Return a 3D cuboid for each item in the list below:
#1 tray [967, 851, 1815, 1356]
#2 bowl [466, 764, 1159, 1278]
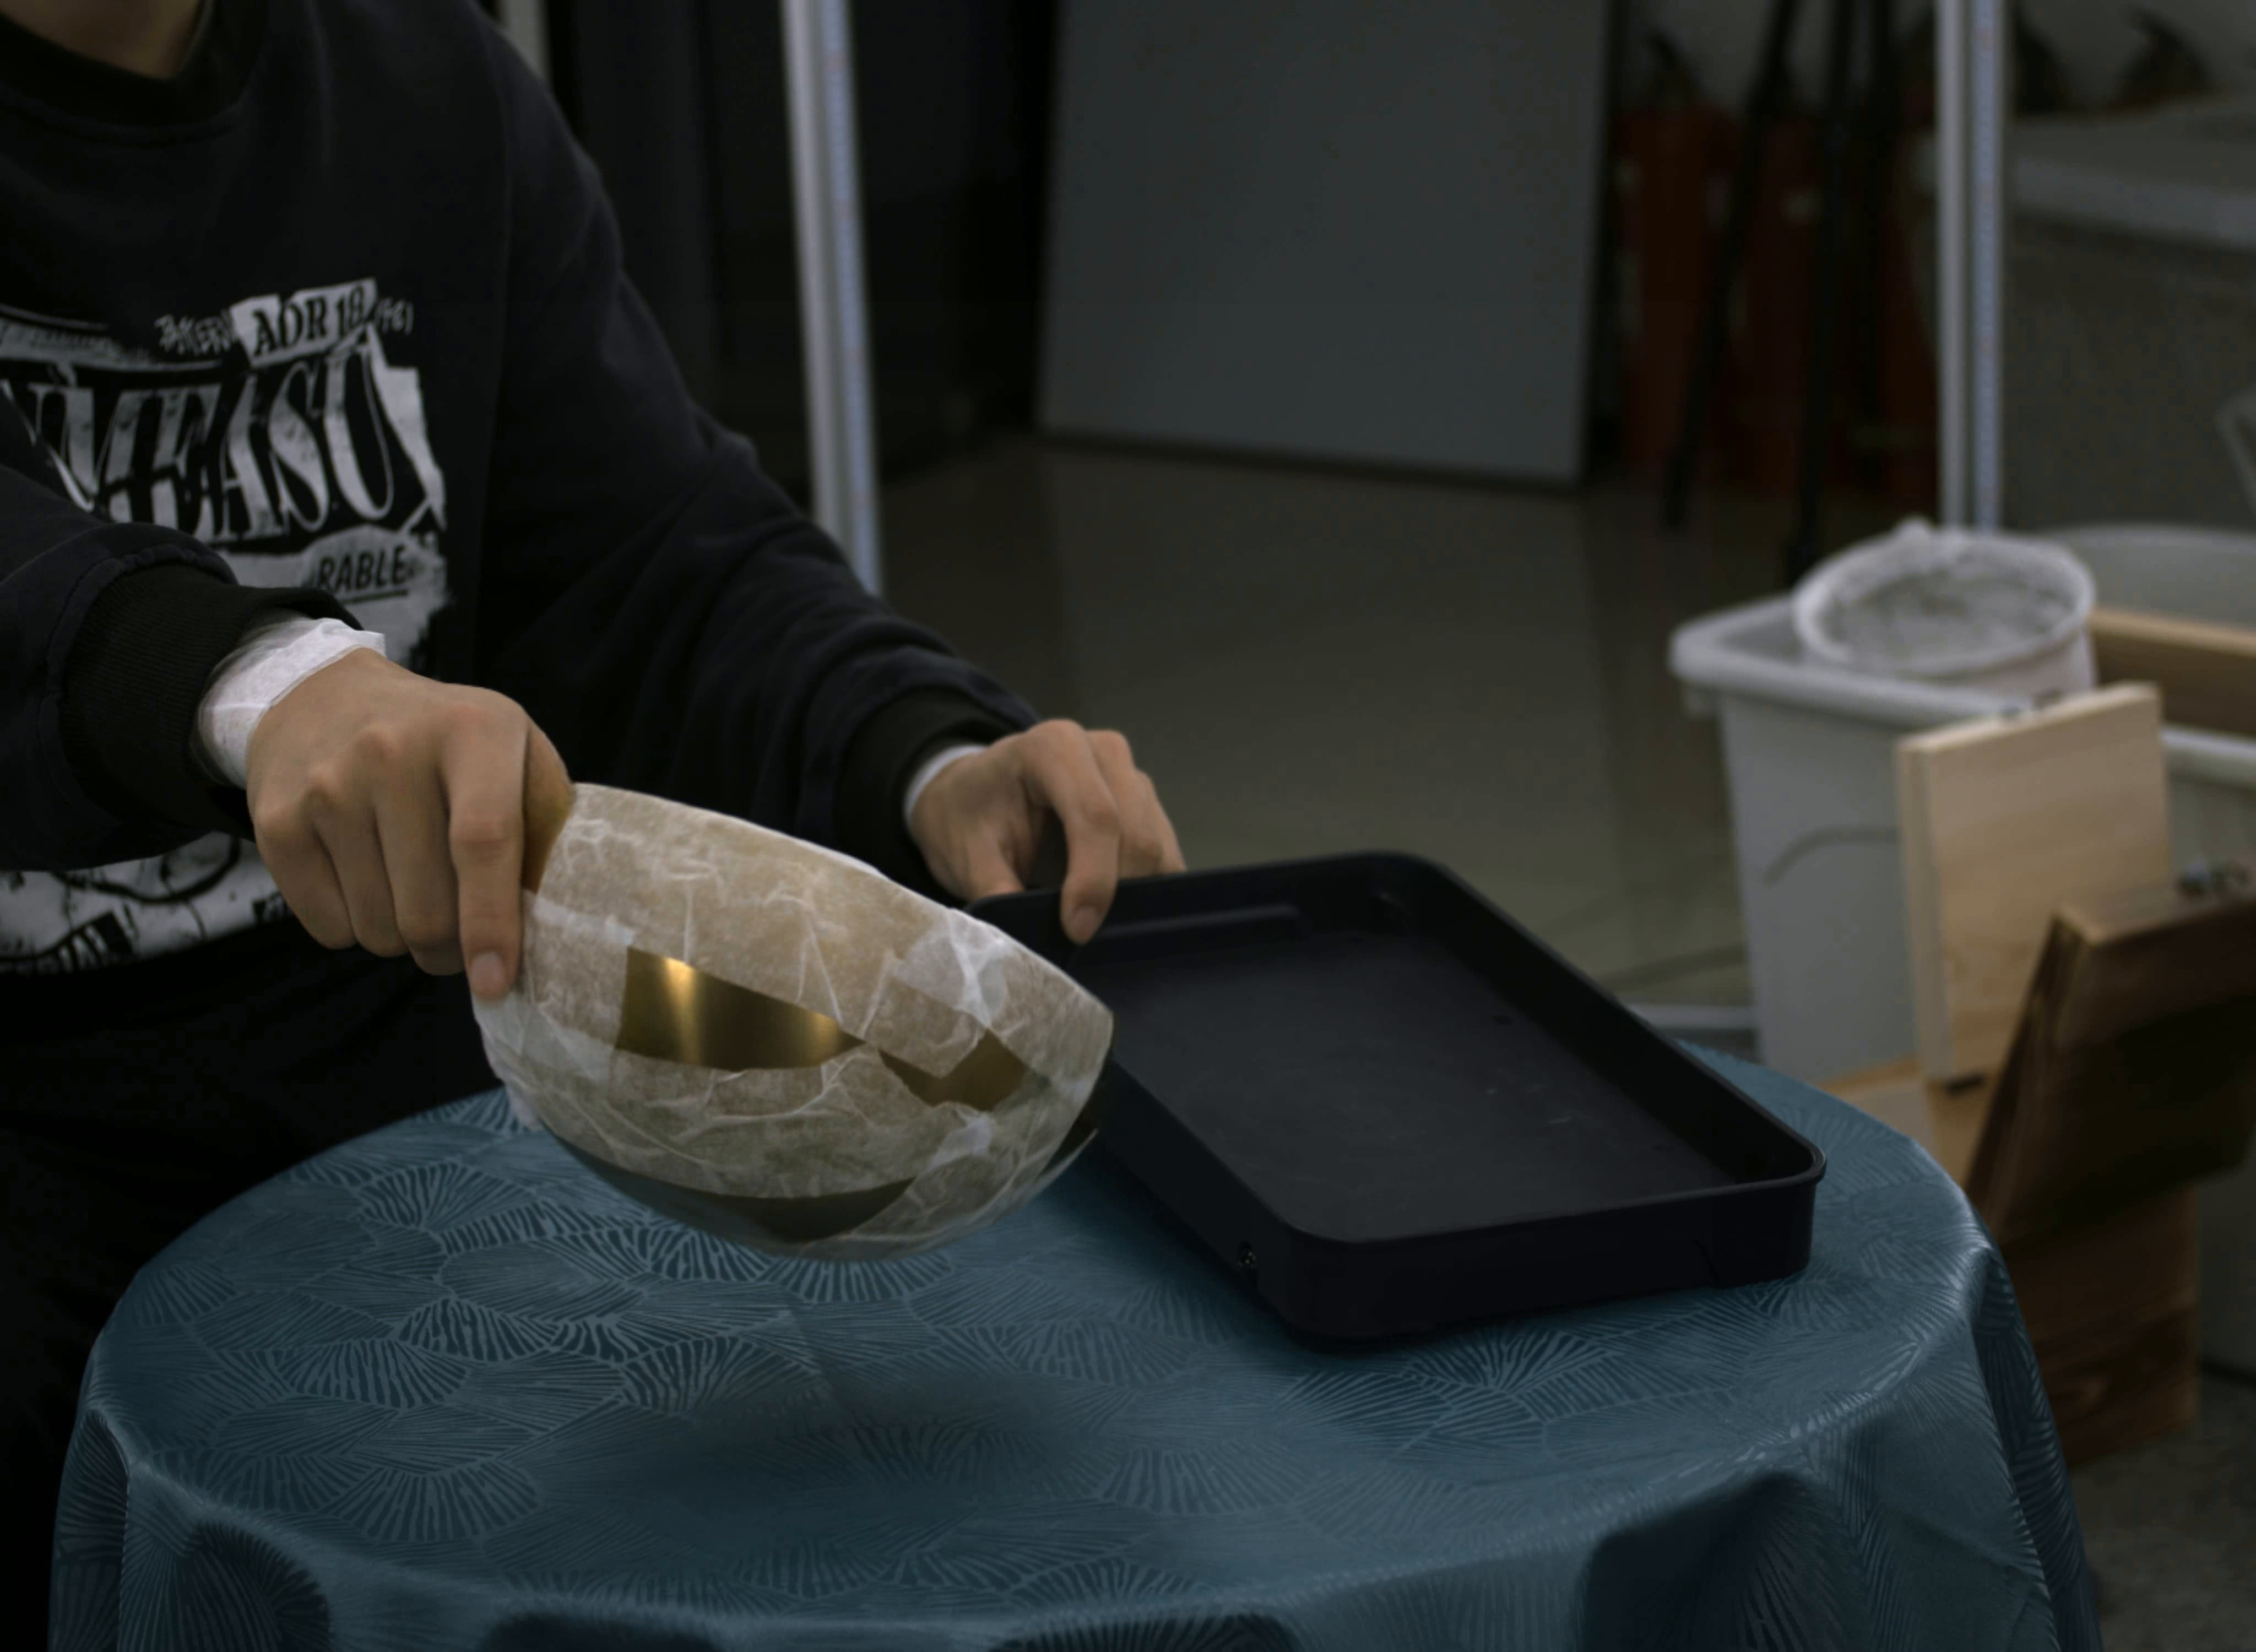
[{"bbox_3d":[0.077,0.084,1.753,0.180,0.037,0.321,-5,21,-19],"label":"tray"},{"bbox_3d":[-0.105,0.072,1.543,0.213,0.095,0.215,21,-17,6],"label":"bowl"}]
